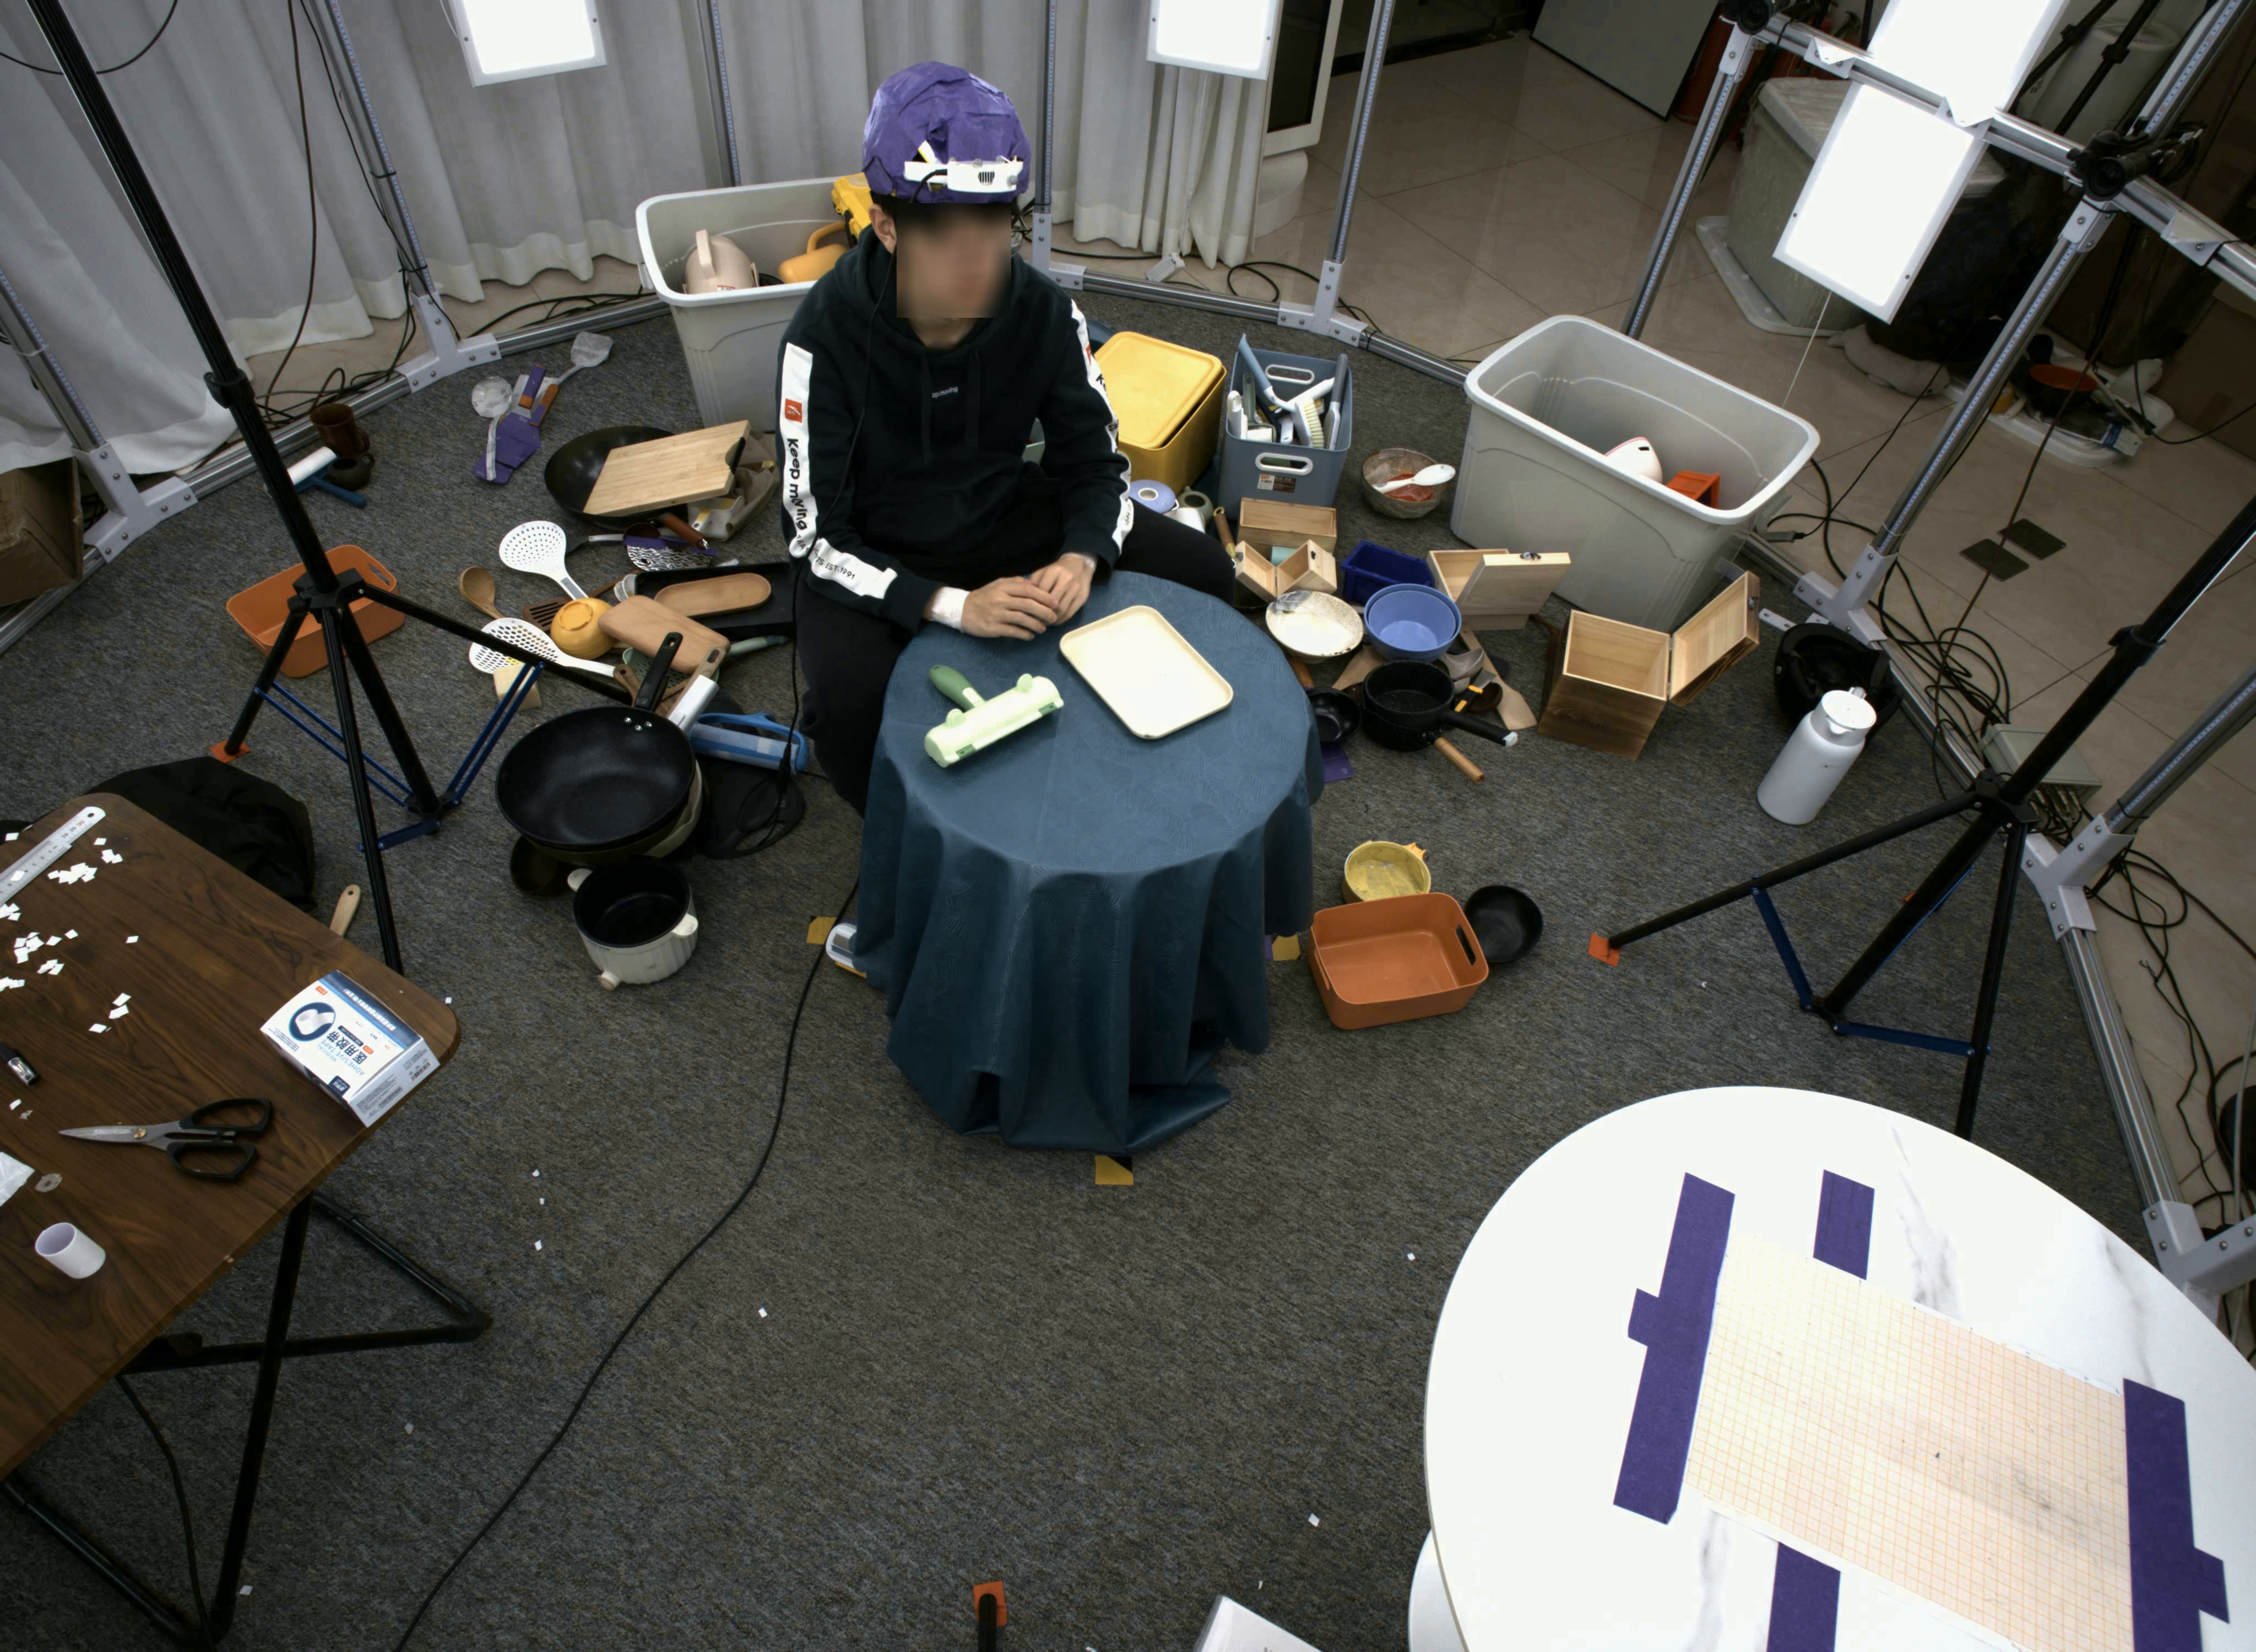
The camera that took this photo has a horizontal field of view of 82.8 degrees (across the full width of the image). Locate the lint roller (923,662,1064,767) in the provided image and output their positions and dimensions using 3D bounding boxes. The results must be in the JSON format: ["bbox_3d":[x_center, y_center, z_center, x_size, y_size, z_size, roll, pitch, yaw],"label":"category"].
[{"bbox_3d":[-0.217,-0.185,1.764,0.200,0.080,0.186,-30,62,-26],"label":"lint roller"}]

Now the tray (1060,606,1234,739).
[{"bbox_3d":[0.025,-0.223,1.851,0.172,0.017,0.244,-25,55,-24],"label":"tray"}]
